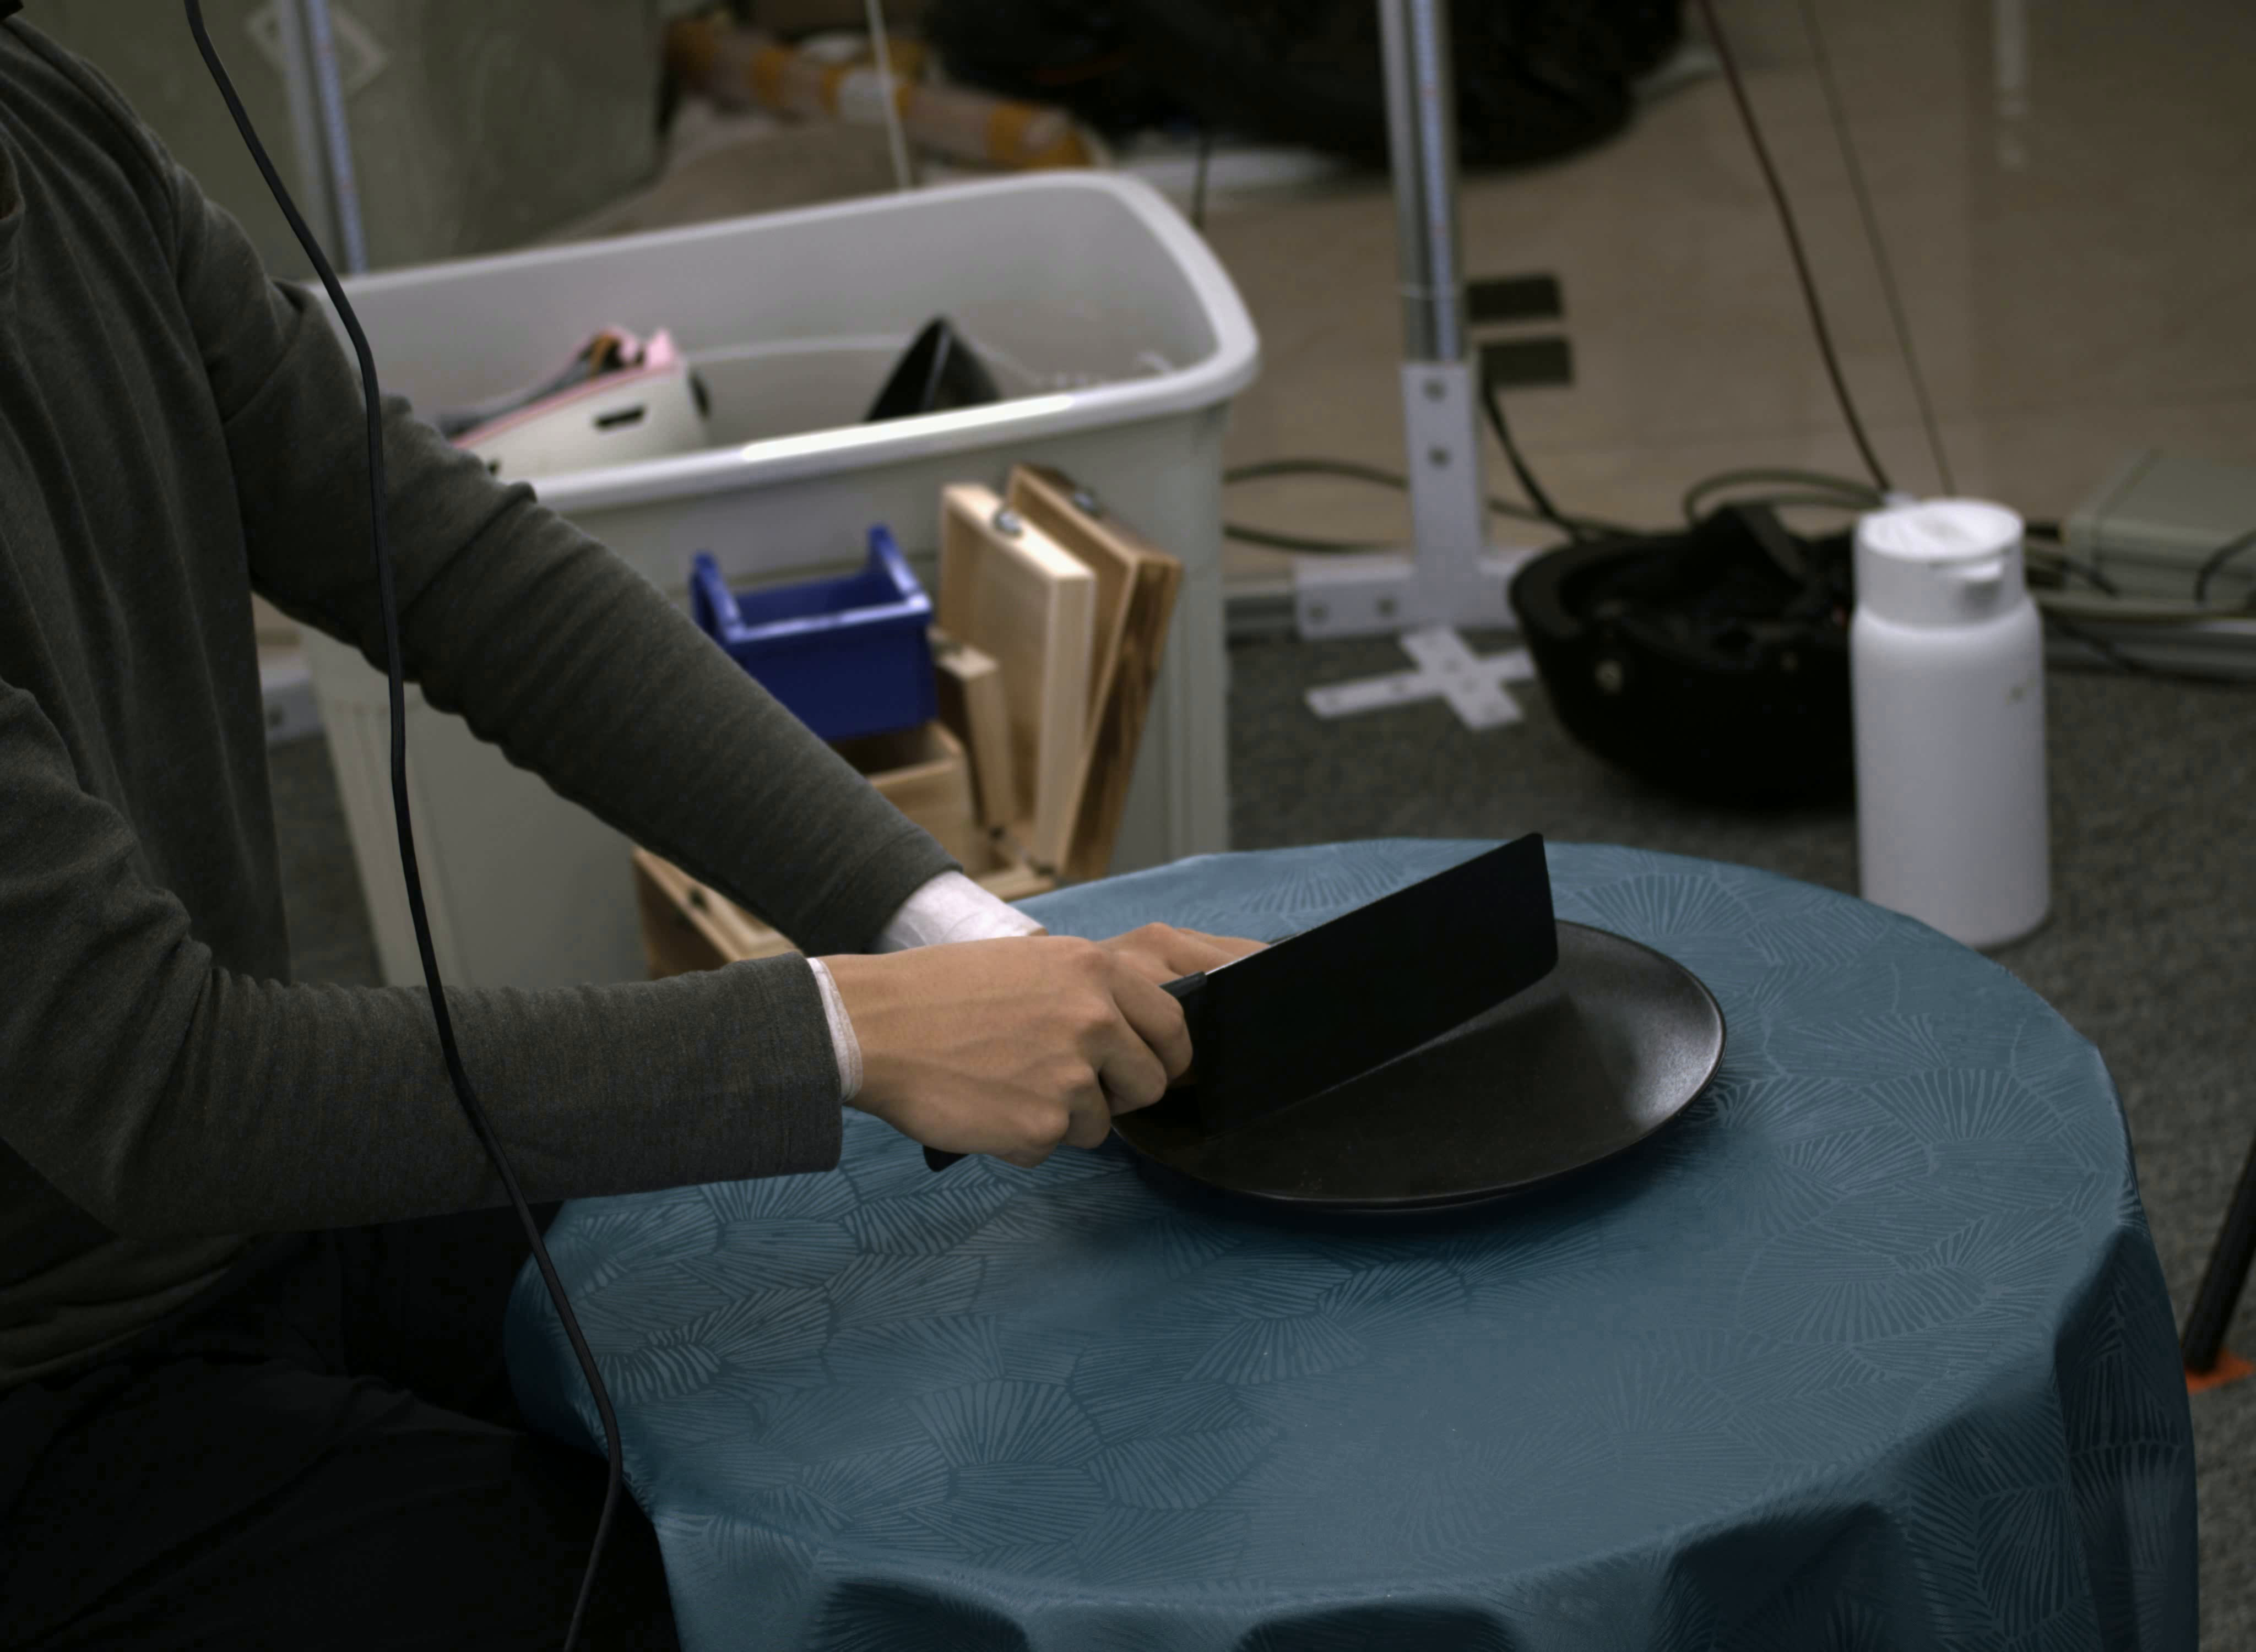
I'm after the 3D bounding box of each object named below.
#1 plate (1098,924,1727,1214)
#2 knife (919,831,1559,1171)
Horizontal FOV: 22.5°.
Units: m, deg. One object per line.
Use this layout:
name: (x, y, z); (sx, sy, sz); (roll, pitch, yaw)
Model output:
plate: (0.110, 0.096, 2.189); (0.244, 0.024, 0.241); (-5, 25, 2)
knife: (0.047, 0.075, 2.161); (0.300, 0.082, 0.020); (-18, 23, -32)
